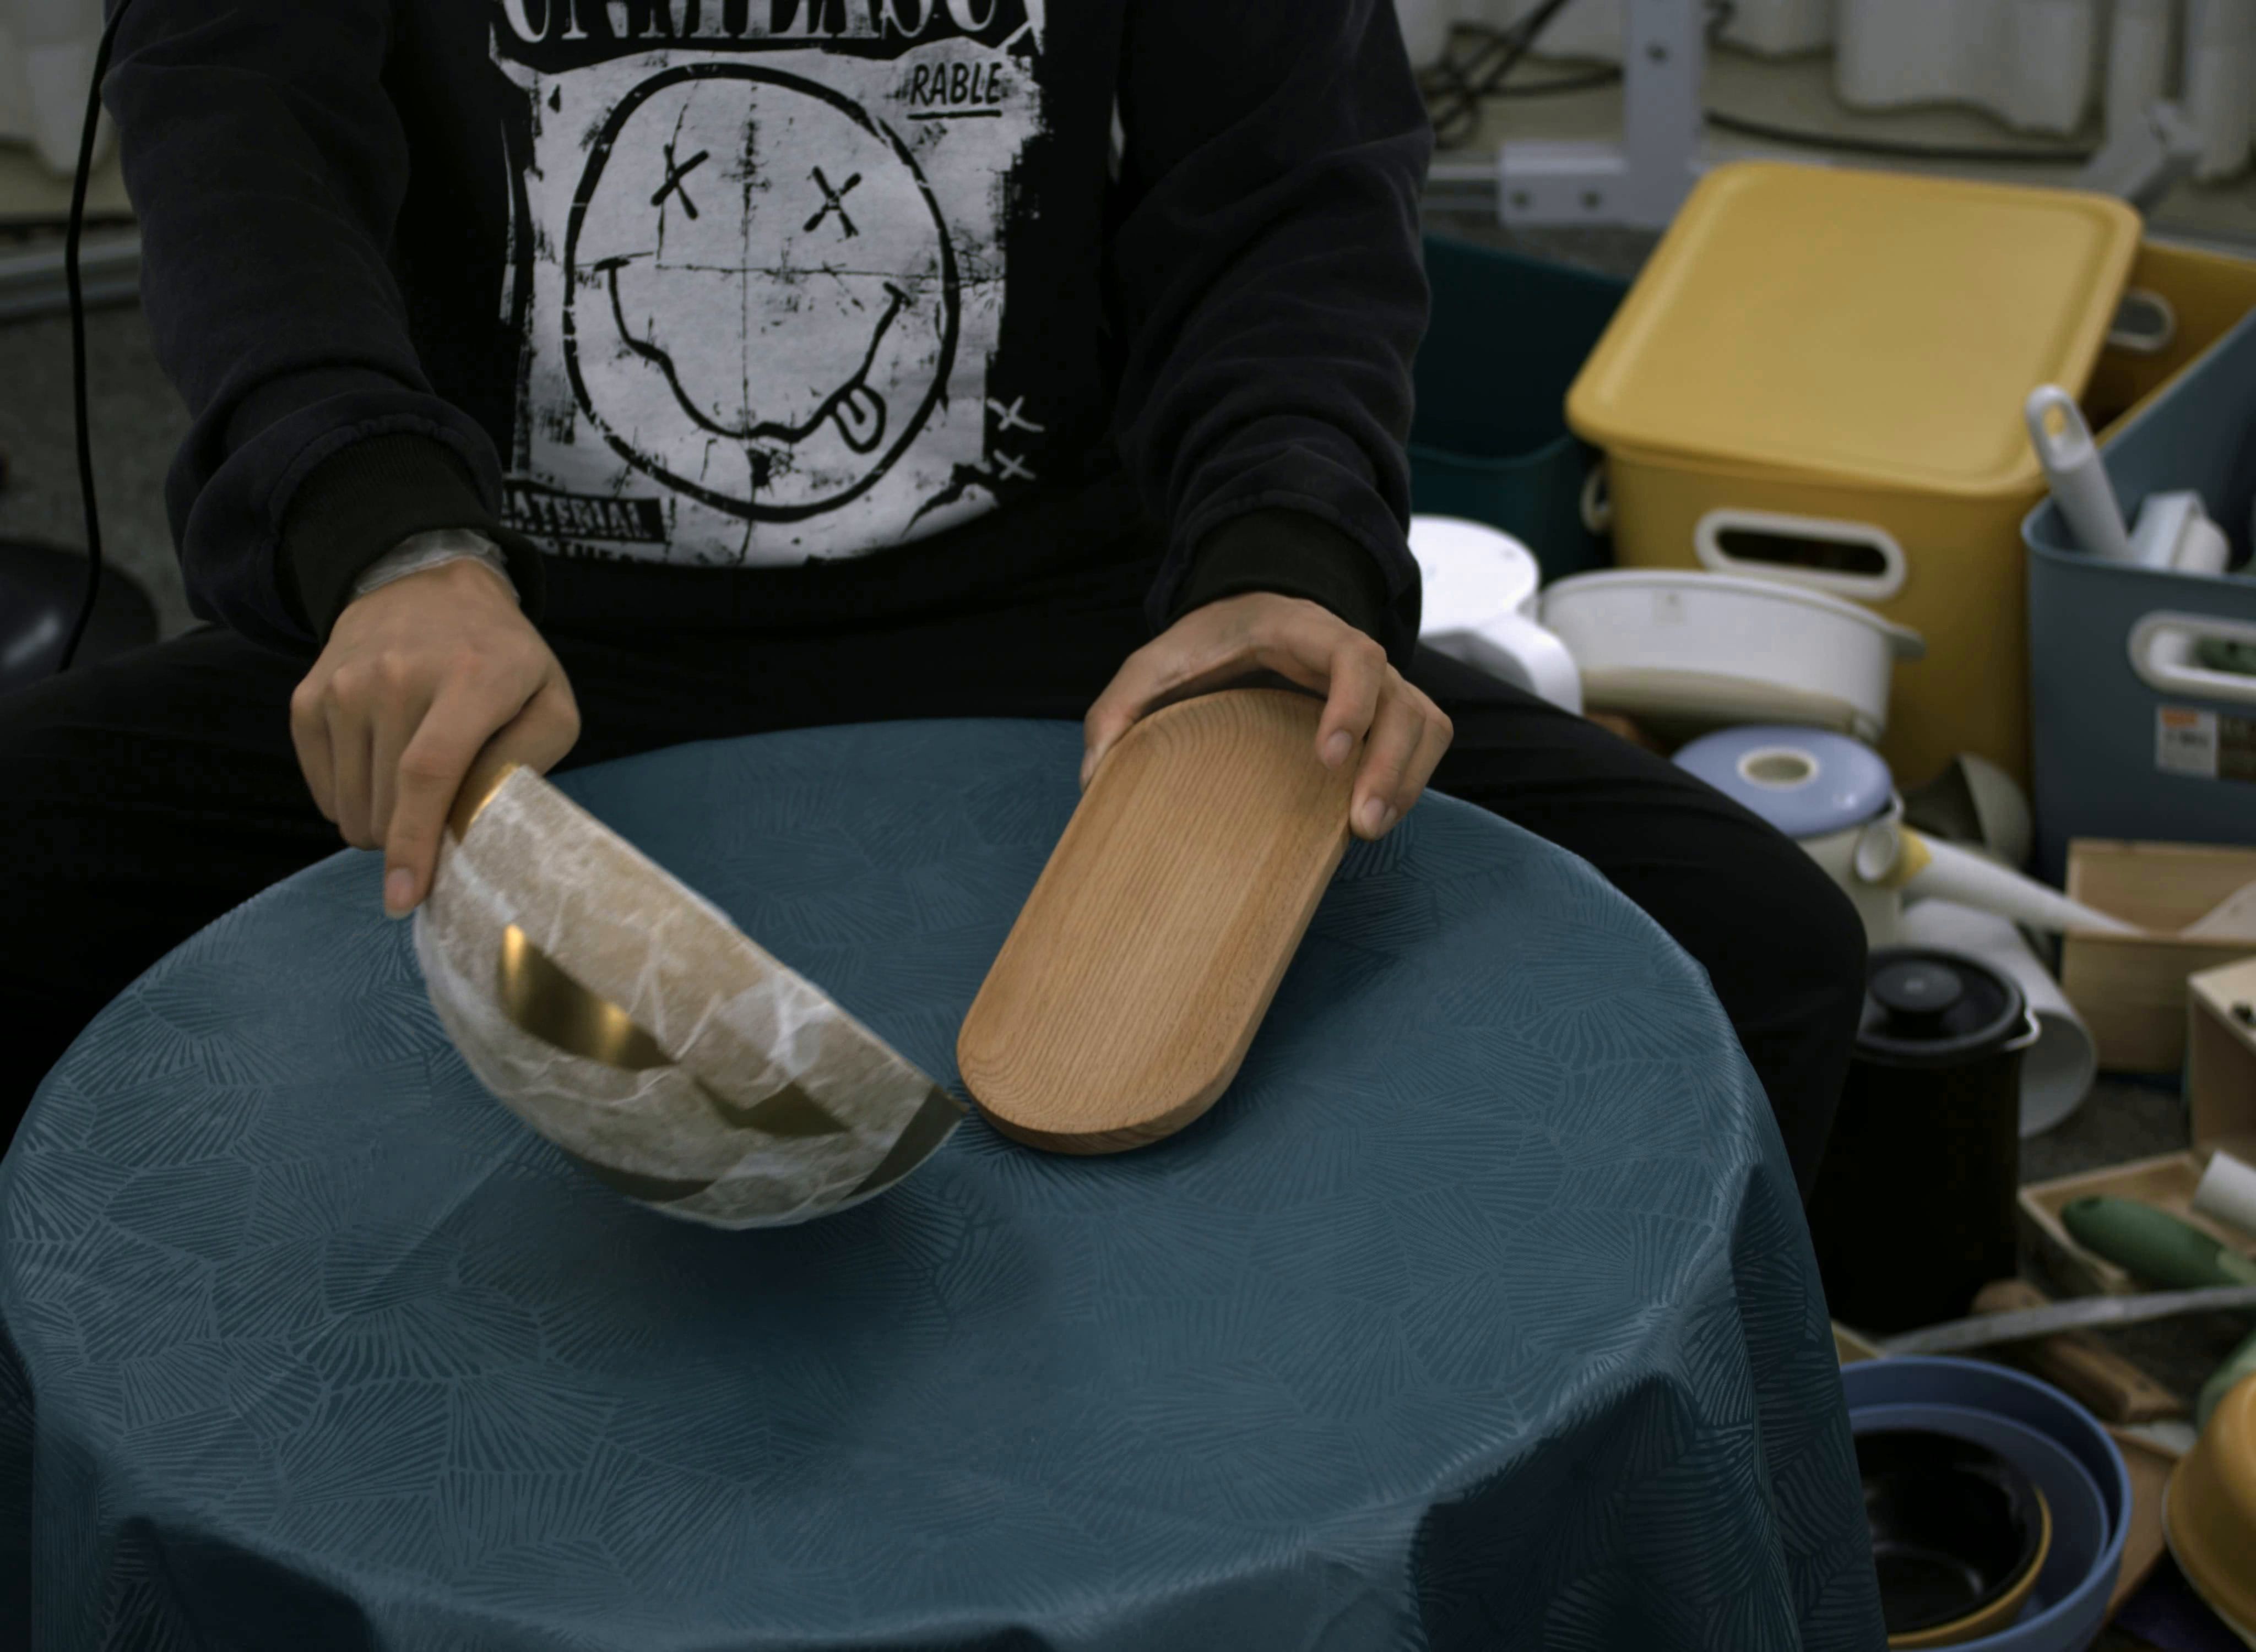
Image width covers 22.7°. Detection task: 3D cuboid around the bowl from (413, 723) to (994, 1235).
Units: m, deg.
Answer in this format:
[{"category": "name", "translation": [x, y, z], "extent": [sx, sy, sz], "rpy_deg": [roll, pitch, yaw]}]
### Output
[{"category": "bowl", "translation": [-0.155, 0.069, 1.810], "extent": [0.095, 0.213, 0.215], "rpy_deg": [-53, 41, -3]}]

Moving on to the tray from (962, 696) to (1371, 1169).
[{"category": "tray", "translation": [0.016, 0.035, 1.955], "extent": [0.101, 0.020, 0.236], "rpy_deg": [4, 43, 22]}]
